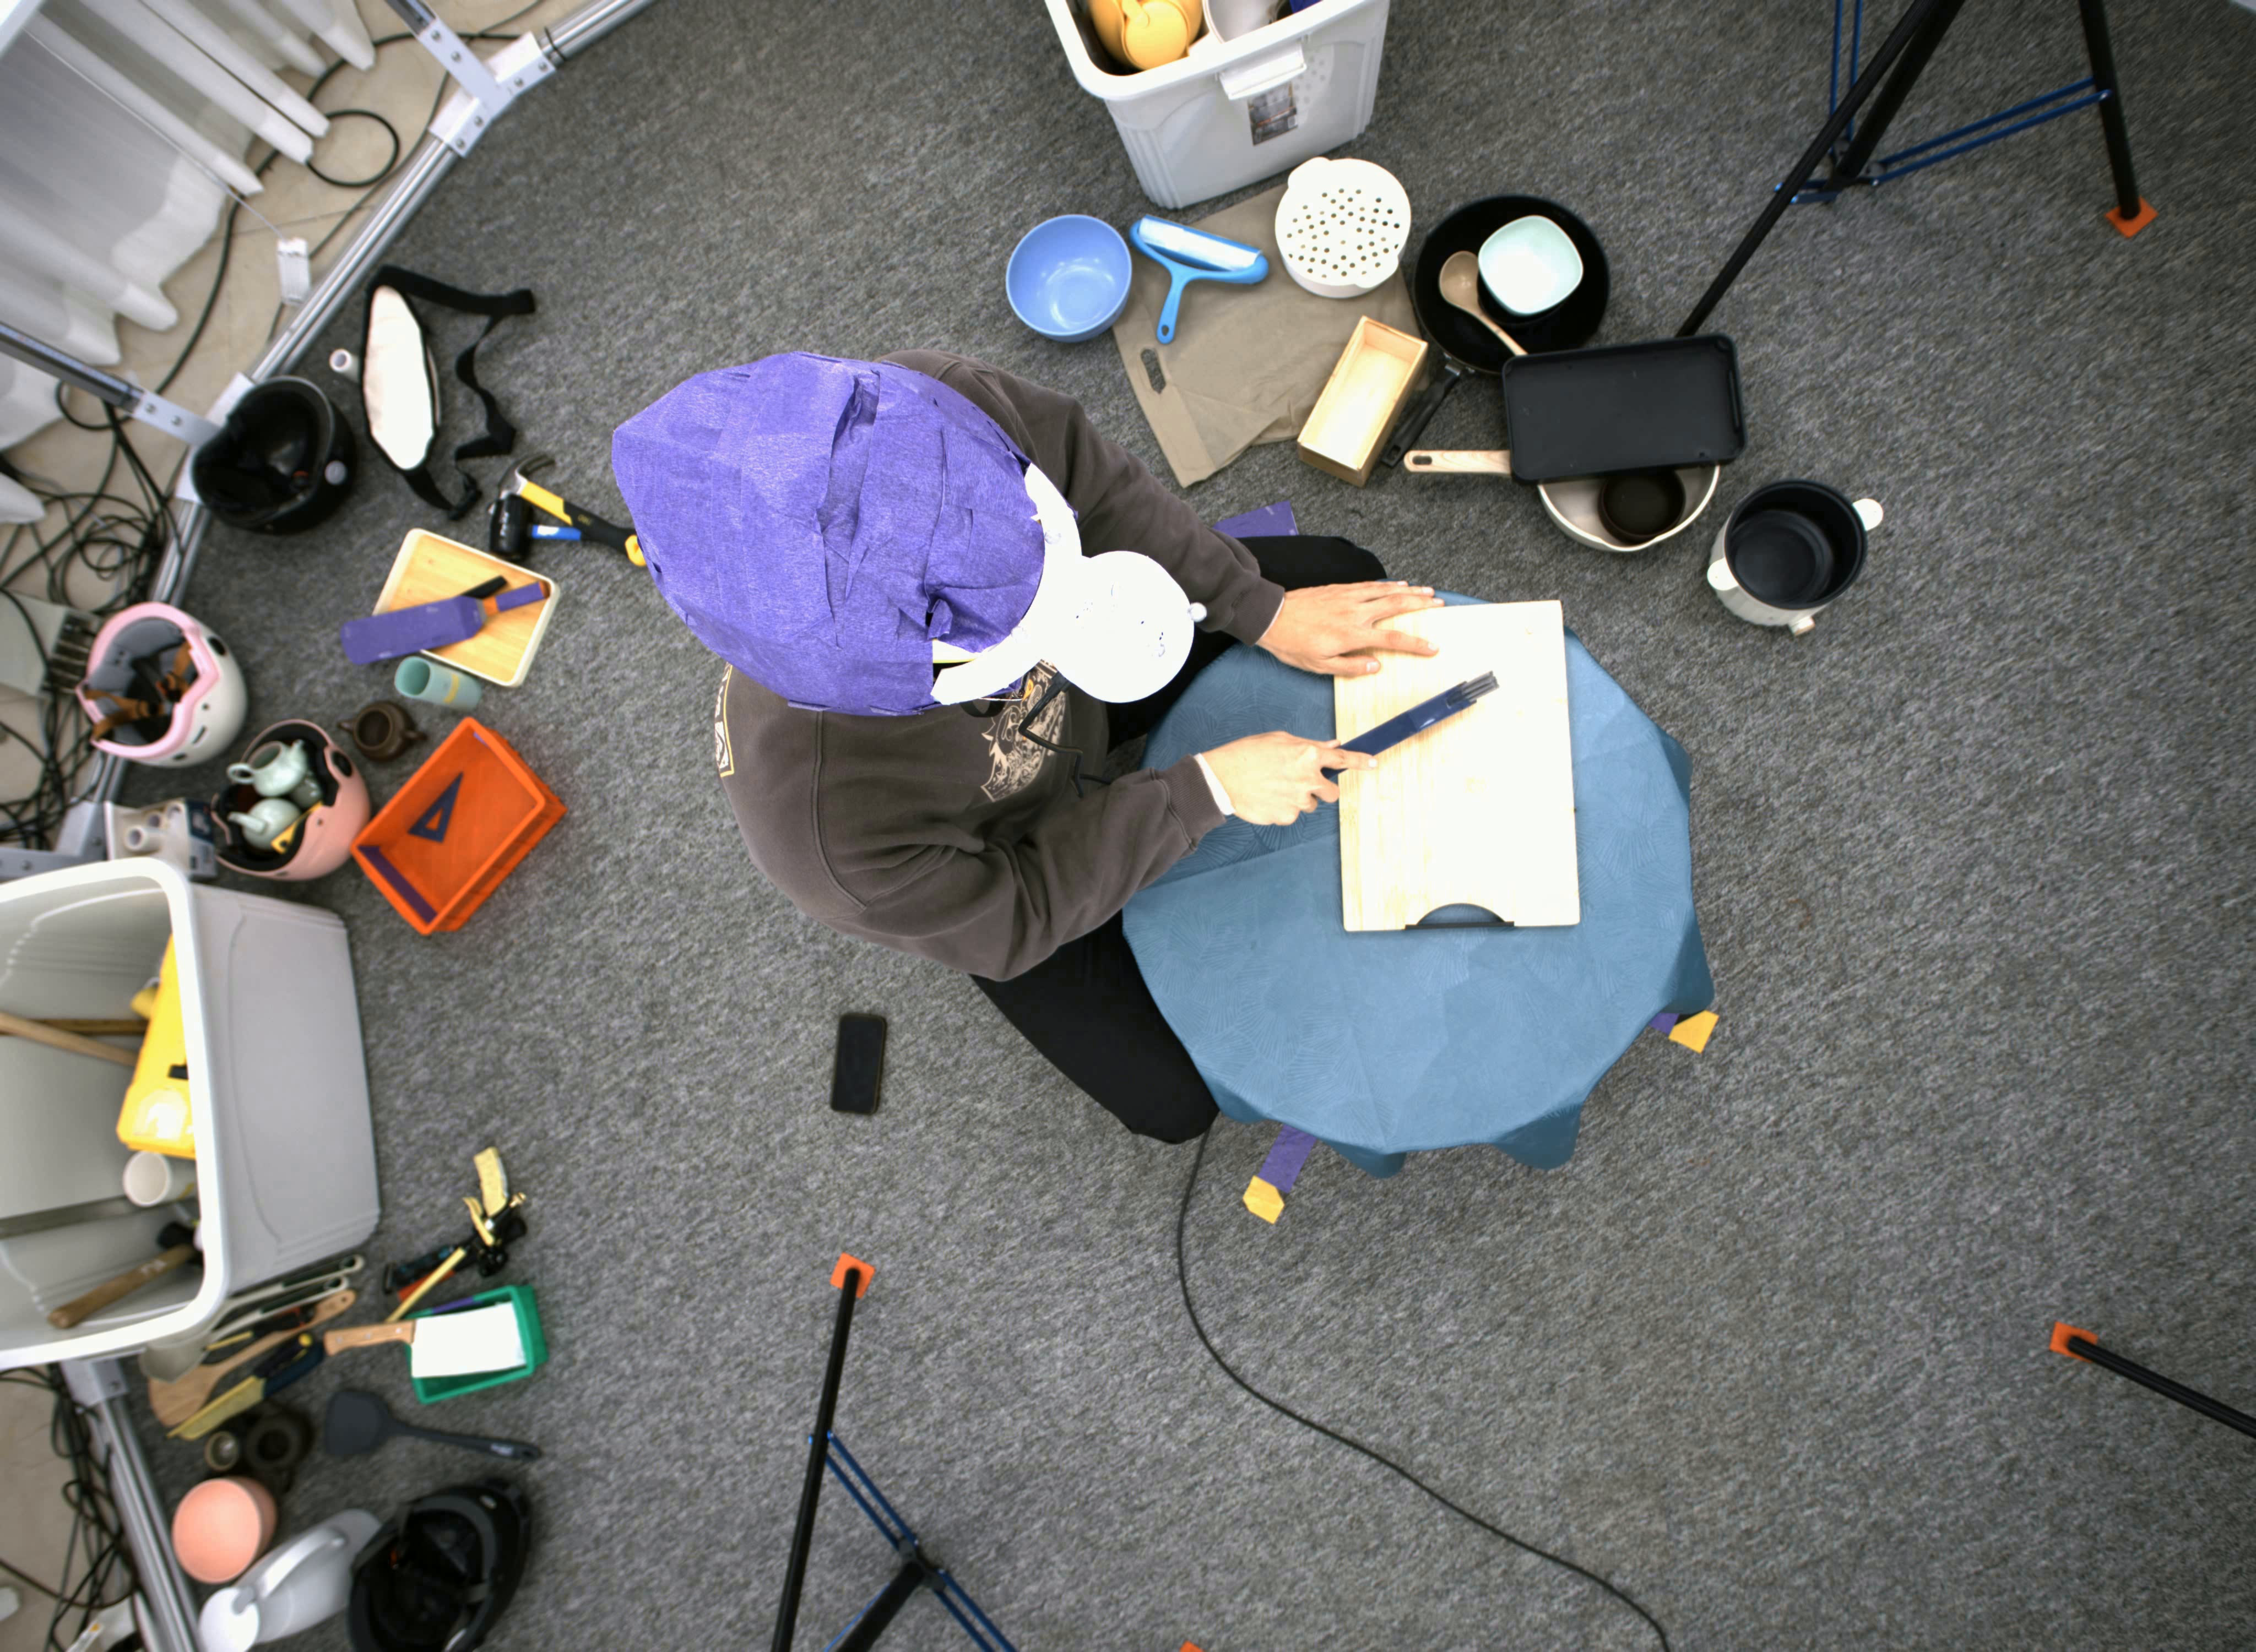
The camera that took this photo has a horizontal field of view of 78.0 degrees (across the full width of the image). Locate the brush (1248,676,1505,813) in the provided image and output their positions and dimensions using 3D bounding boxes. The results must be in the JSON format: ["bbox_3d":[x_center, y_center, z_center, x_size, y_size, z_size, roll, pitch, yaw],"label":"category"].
[{"bbox_3d":[0.246,-0.087,1.366,0.270,0.096,0.033,-27,94,-21],"label":"brush"}]

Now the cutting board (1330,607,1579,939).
[{"bbox_3d":[0.340,-0.059,1.443,0.252,0.023,0.347,-3,87,11],"label":"cutting board"}]
